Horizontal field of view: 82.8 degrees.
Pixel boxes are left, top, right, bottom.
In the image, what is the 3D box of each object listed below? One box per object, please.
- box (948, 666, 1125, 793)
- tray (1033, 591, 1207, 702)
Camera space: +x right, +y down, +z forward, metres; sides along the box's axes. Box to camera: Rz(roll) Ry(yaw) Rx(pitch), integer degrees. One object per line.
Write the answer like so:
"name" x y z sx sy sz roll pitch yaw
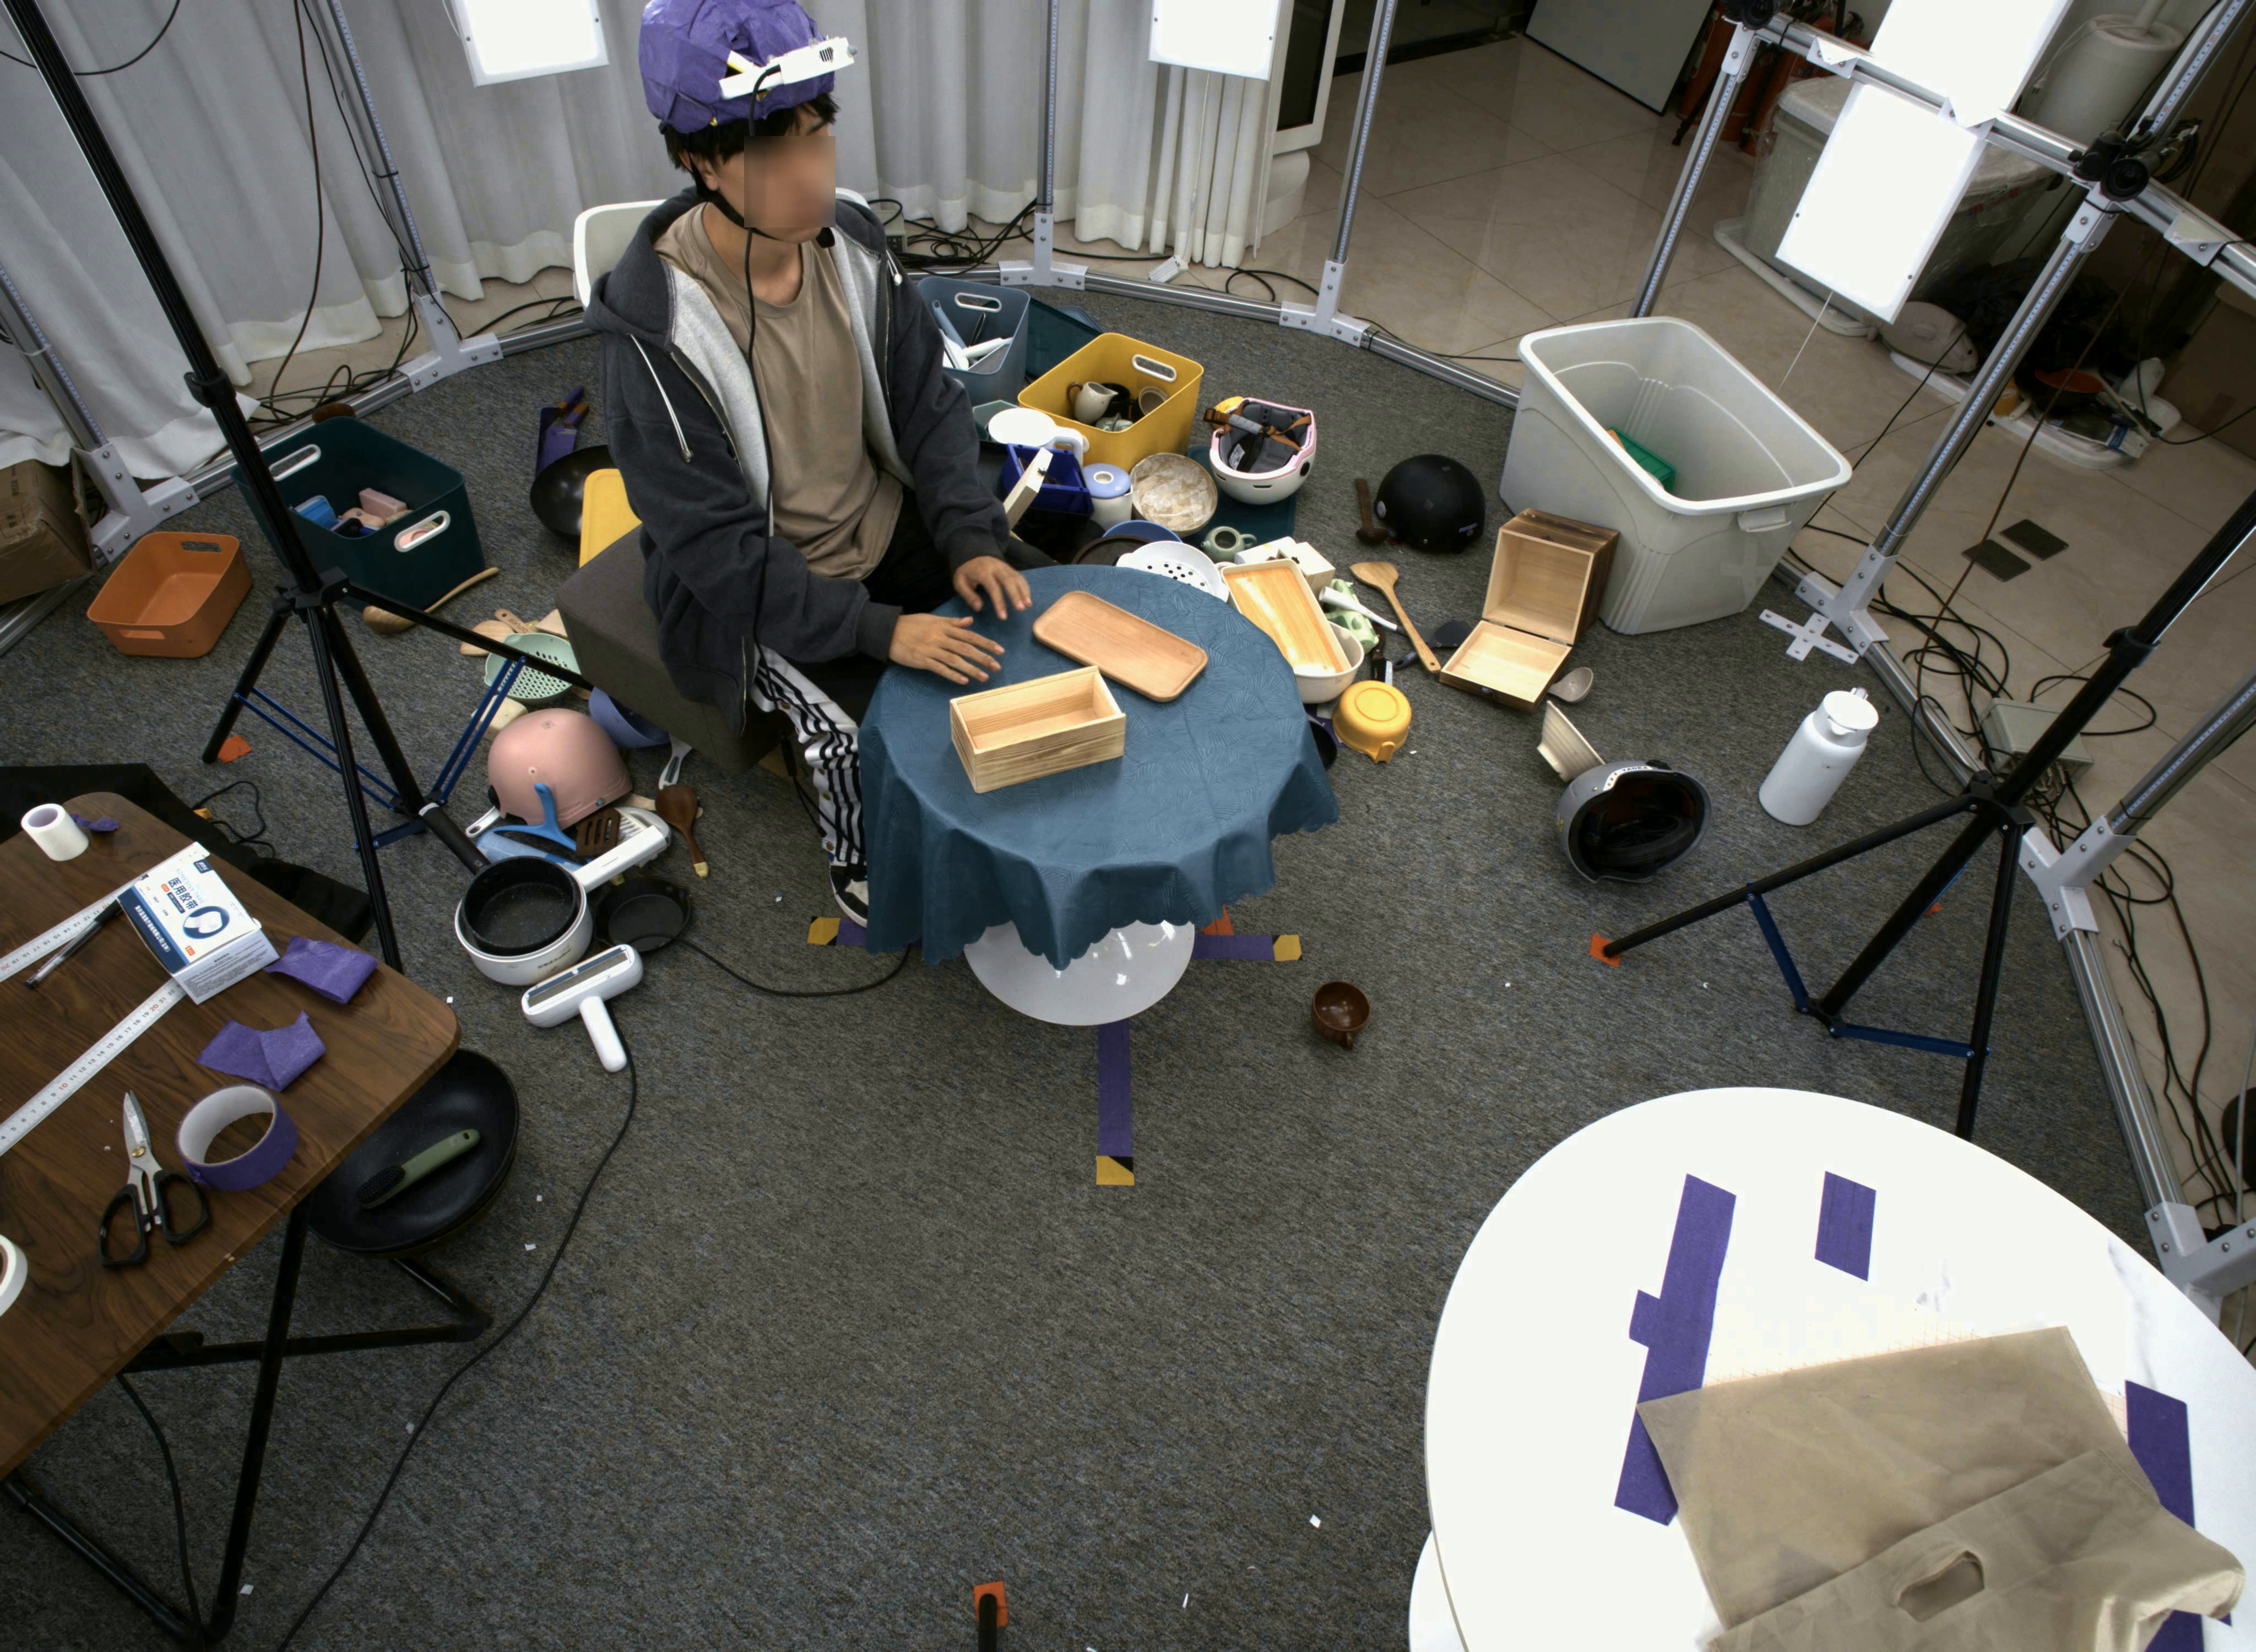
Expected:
"box" -0.122 -0.131 1.721 0.211 0.078 0.110 -15 52 -17
"tray" -0.012 -0.265 1.885 0.253 0.022 0.132 29 50 21
